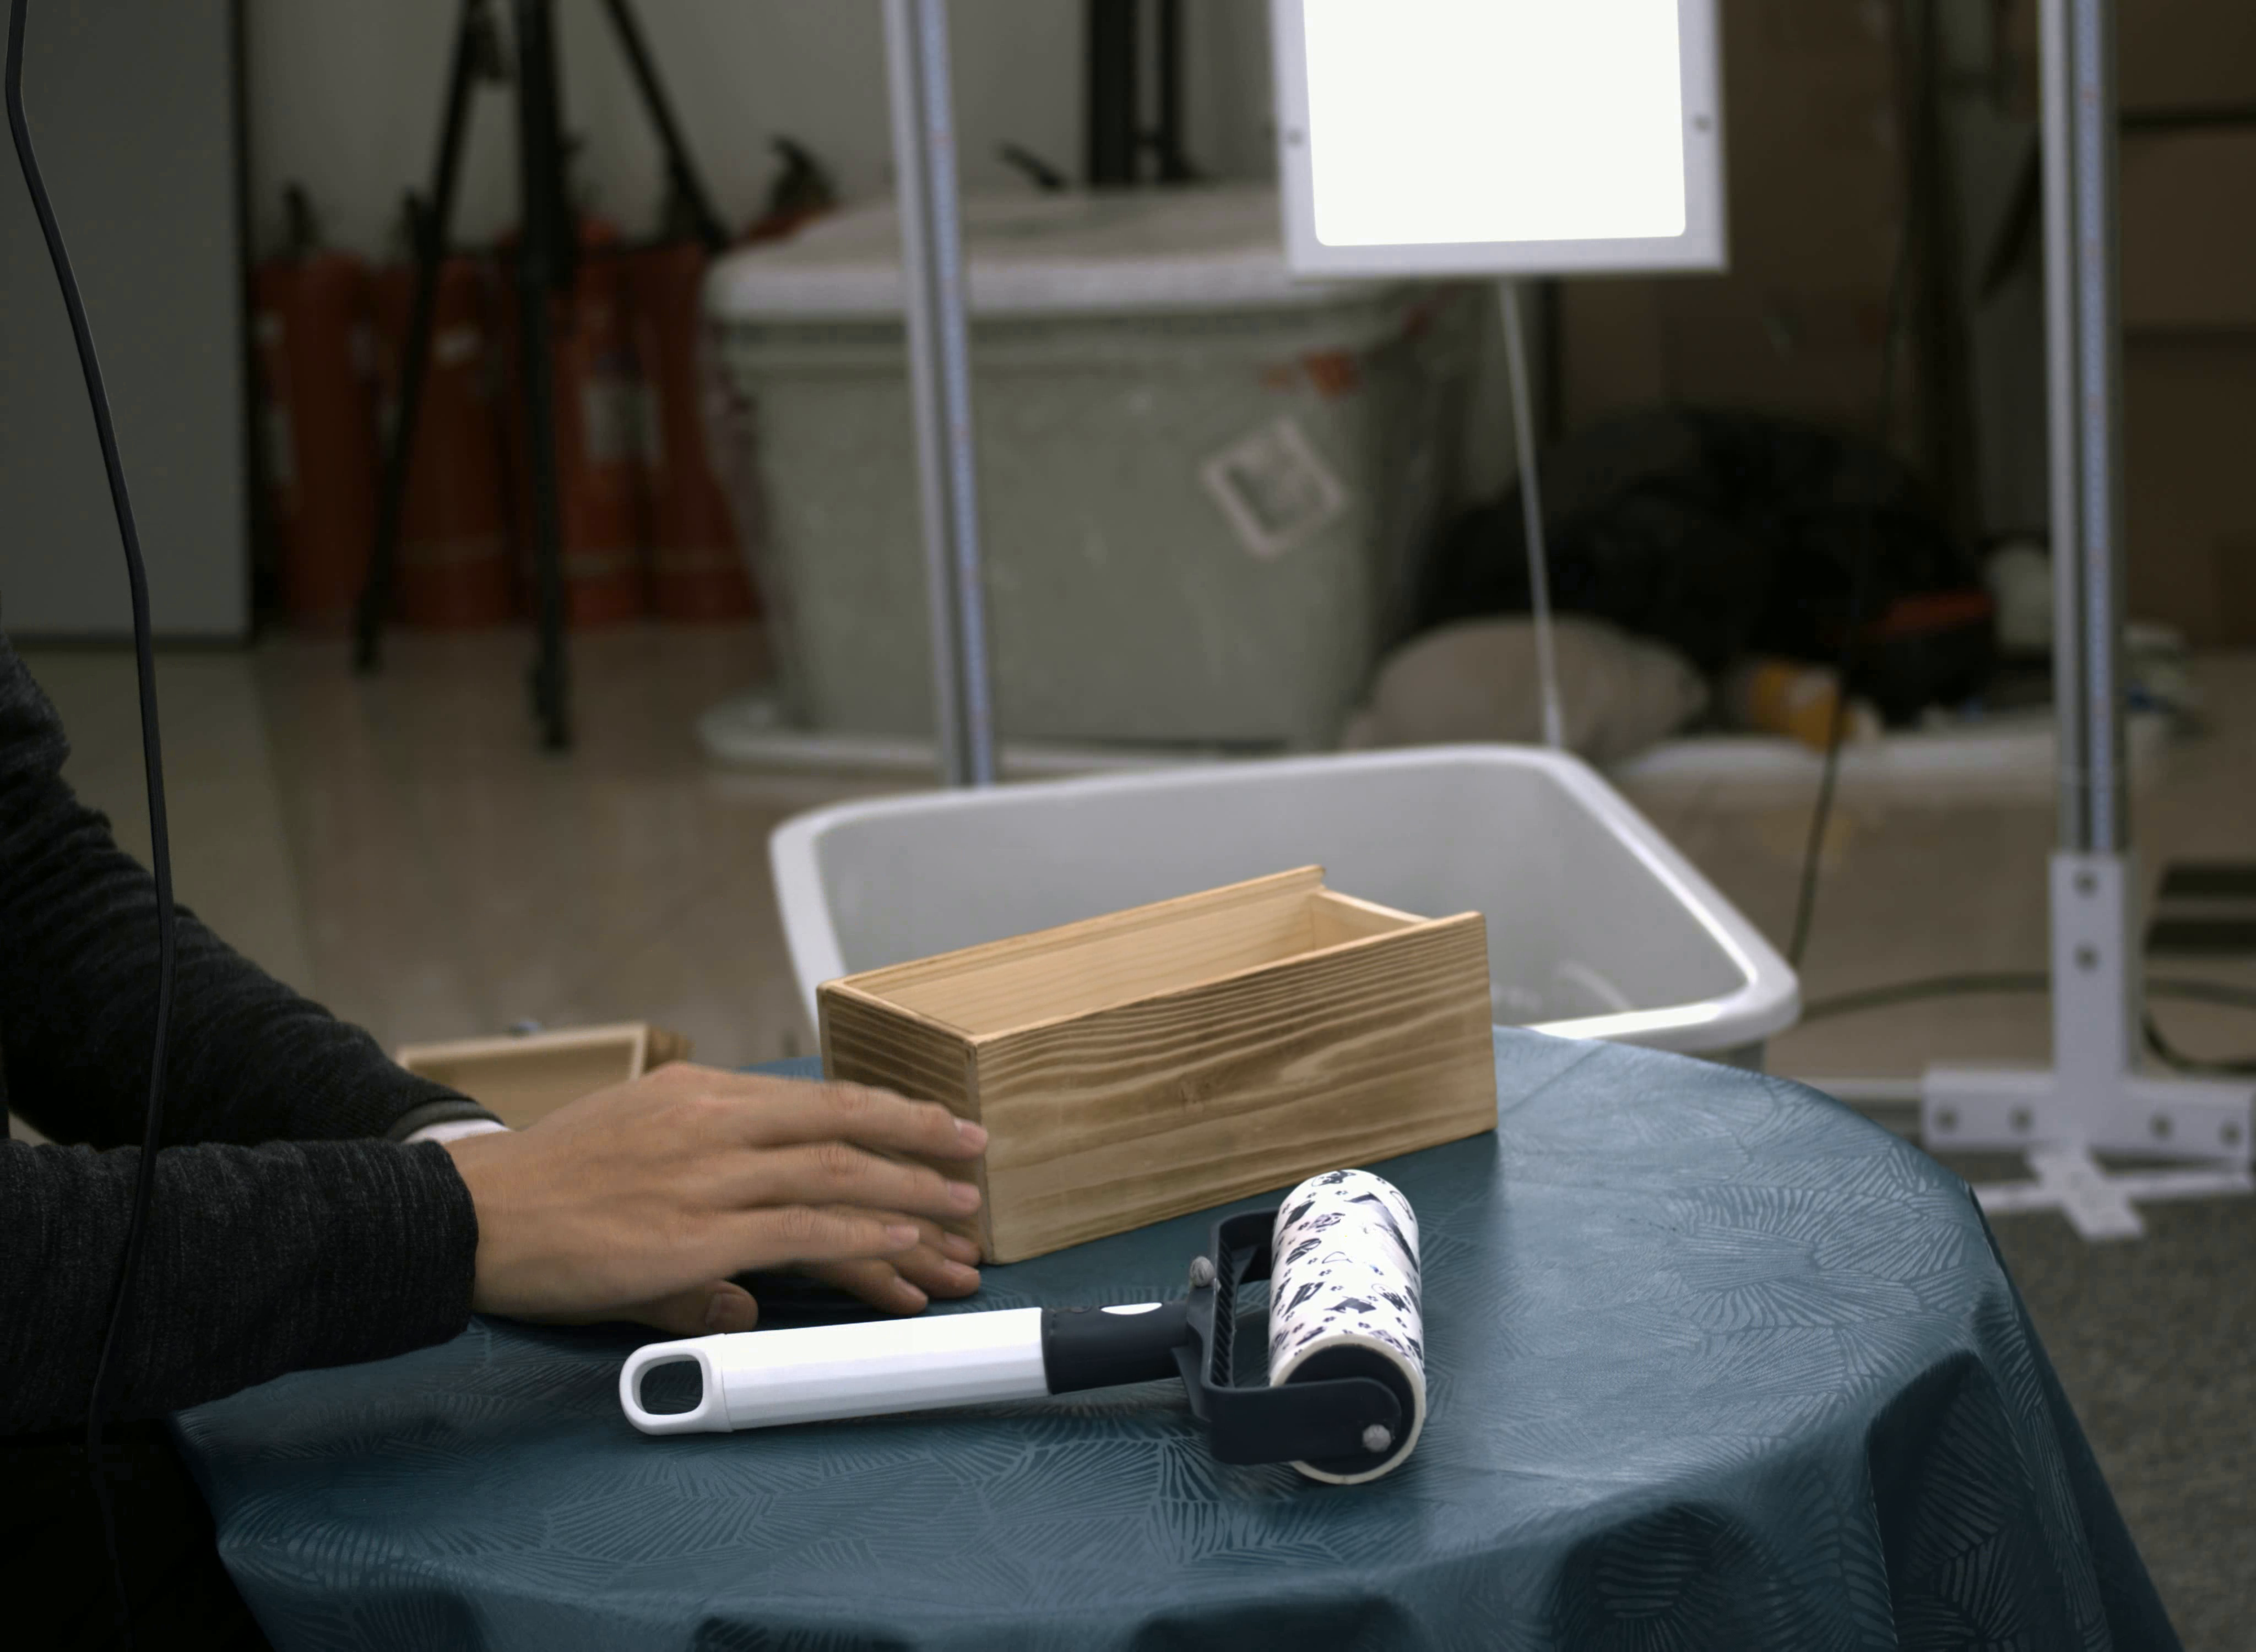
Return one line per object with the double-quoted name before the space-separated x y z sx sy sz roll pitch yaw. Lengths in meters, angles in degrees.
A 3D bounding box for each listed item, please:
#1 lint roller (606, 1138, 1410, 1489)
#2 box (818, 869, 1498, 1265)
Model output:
"lint roller" -0.038 0.155 1.681 0.247 0.050 0.175 -5 19 4
"box" 0.012 0.081 1.913 0.206 0.080 0.109 -13 16 -30
